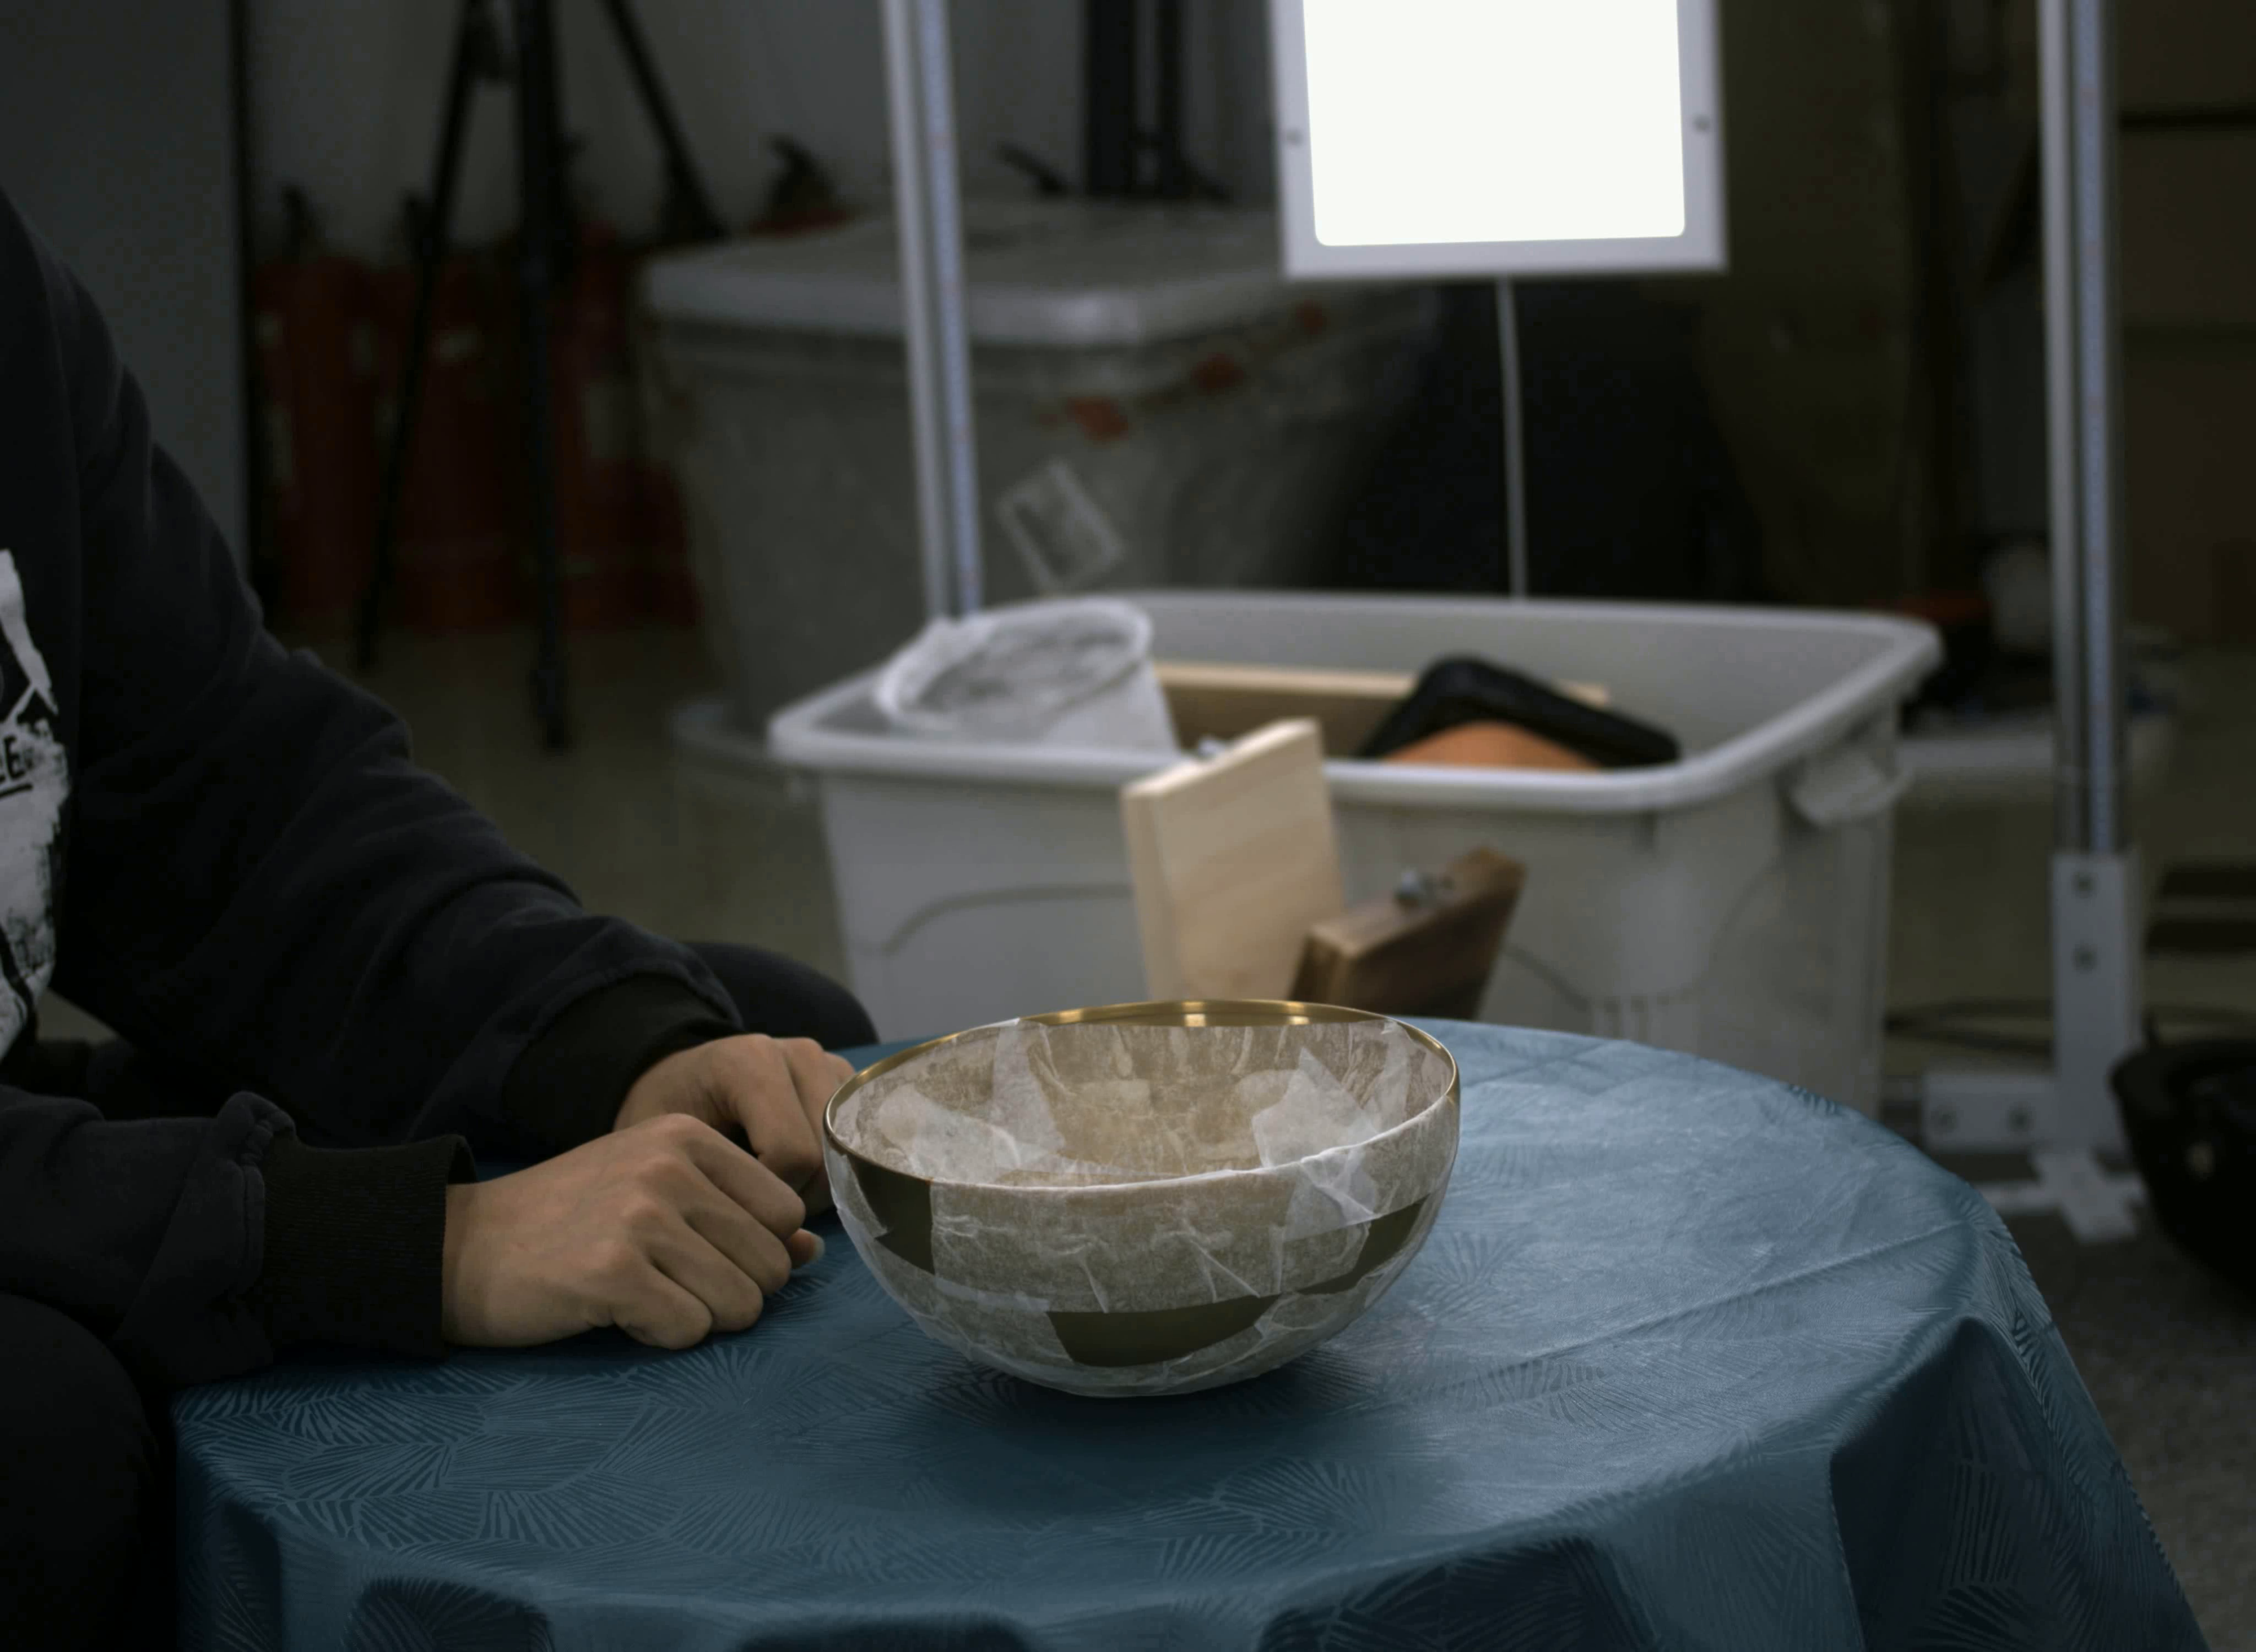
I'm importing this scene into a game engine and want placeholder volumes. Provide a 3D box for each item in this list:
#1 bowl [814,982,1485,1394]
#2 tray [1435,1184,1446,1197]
[{"bbox_3d":[0.009,0.121,1.718,0.214,0.095,0.214,-6,15,0],"label":"bowl"},{"bbox_3d":[0.018,0.109,1.931,0.099,0.020,0.236,-18,20,-36],"label":"tray"}]
